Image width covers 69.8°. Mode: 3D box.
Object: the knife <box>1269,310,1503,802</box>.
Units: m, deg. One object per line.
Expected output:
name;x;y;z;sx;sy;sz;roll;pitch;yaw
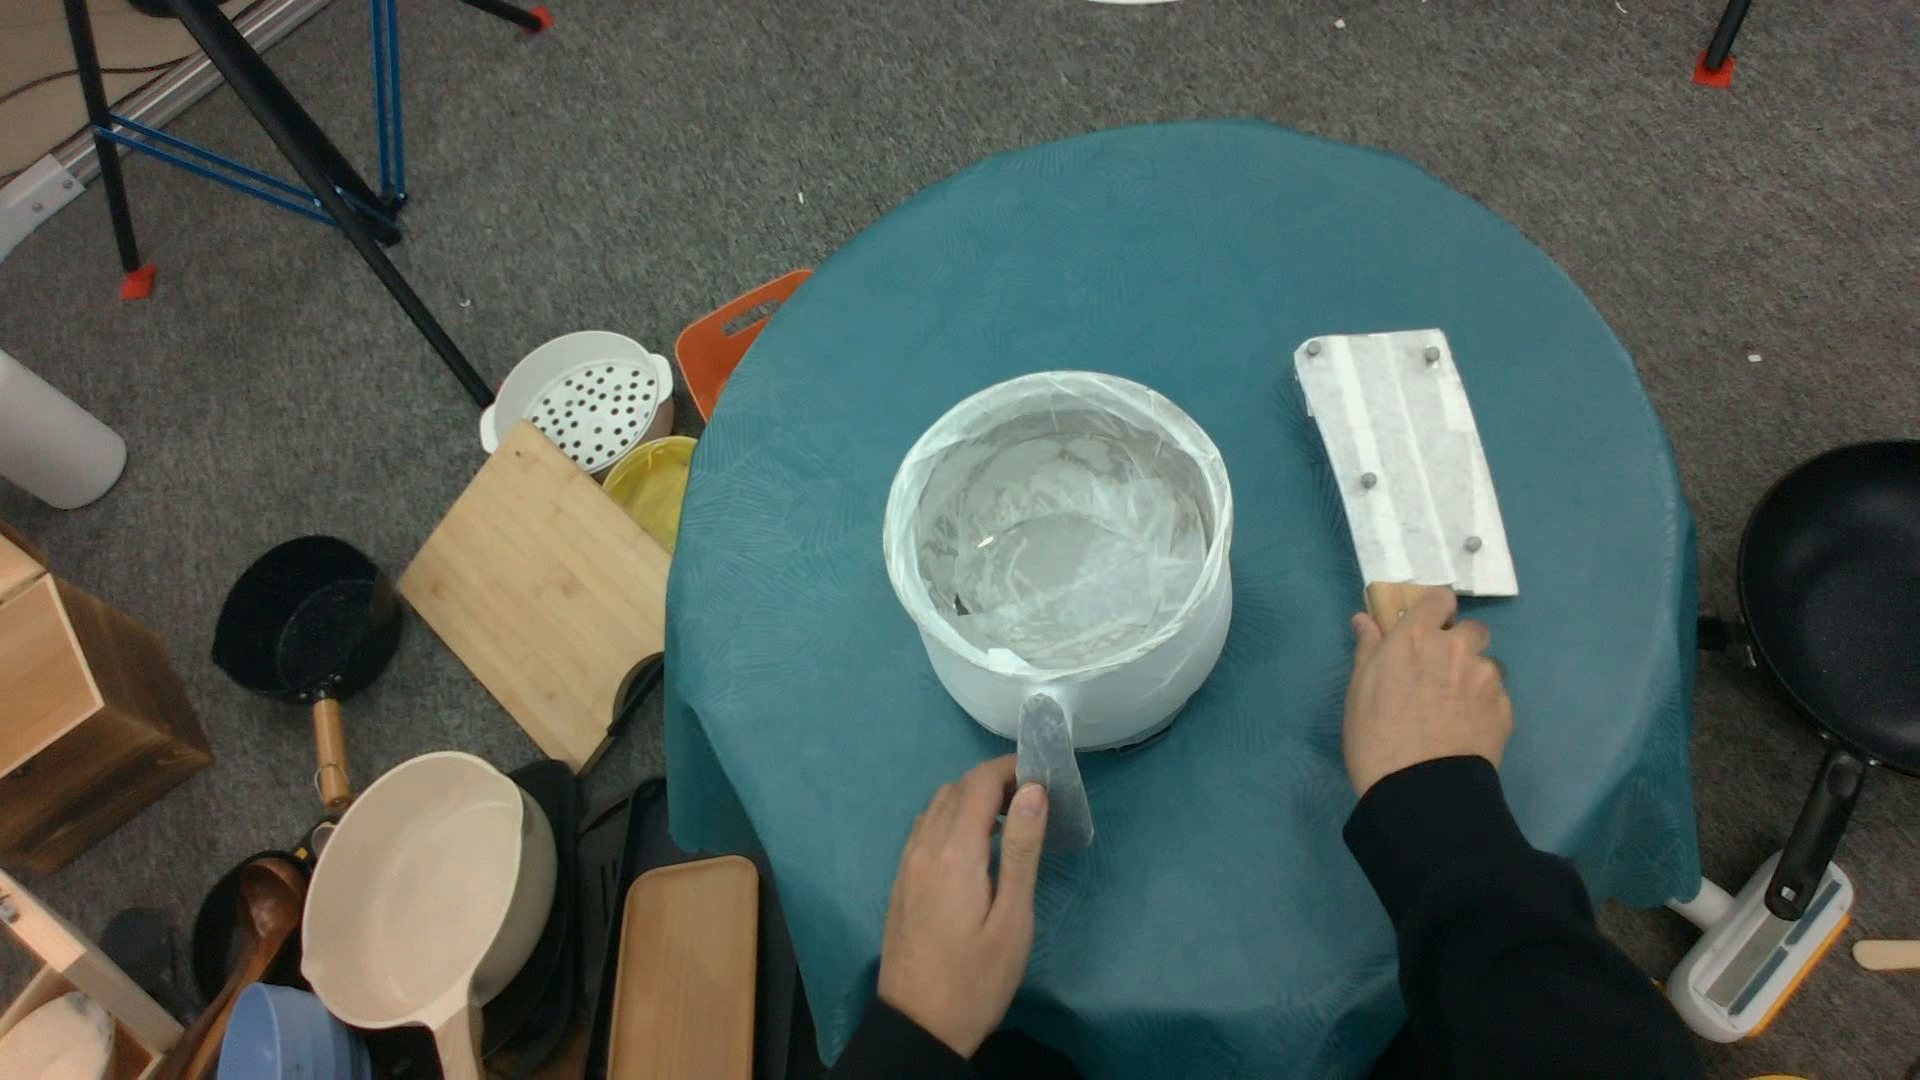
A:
knife;0.245;-0.006;0.773;0.114;0.021;0.316;2;60;-5

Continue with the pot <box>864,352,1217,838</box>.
pot;0.047;0.032;0.731;0.178;0.136;0.234;-1;62;10
